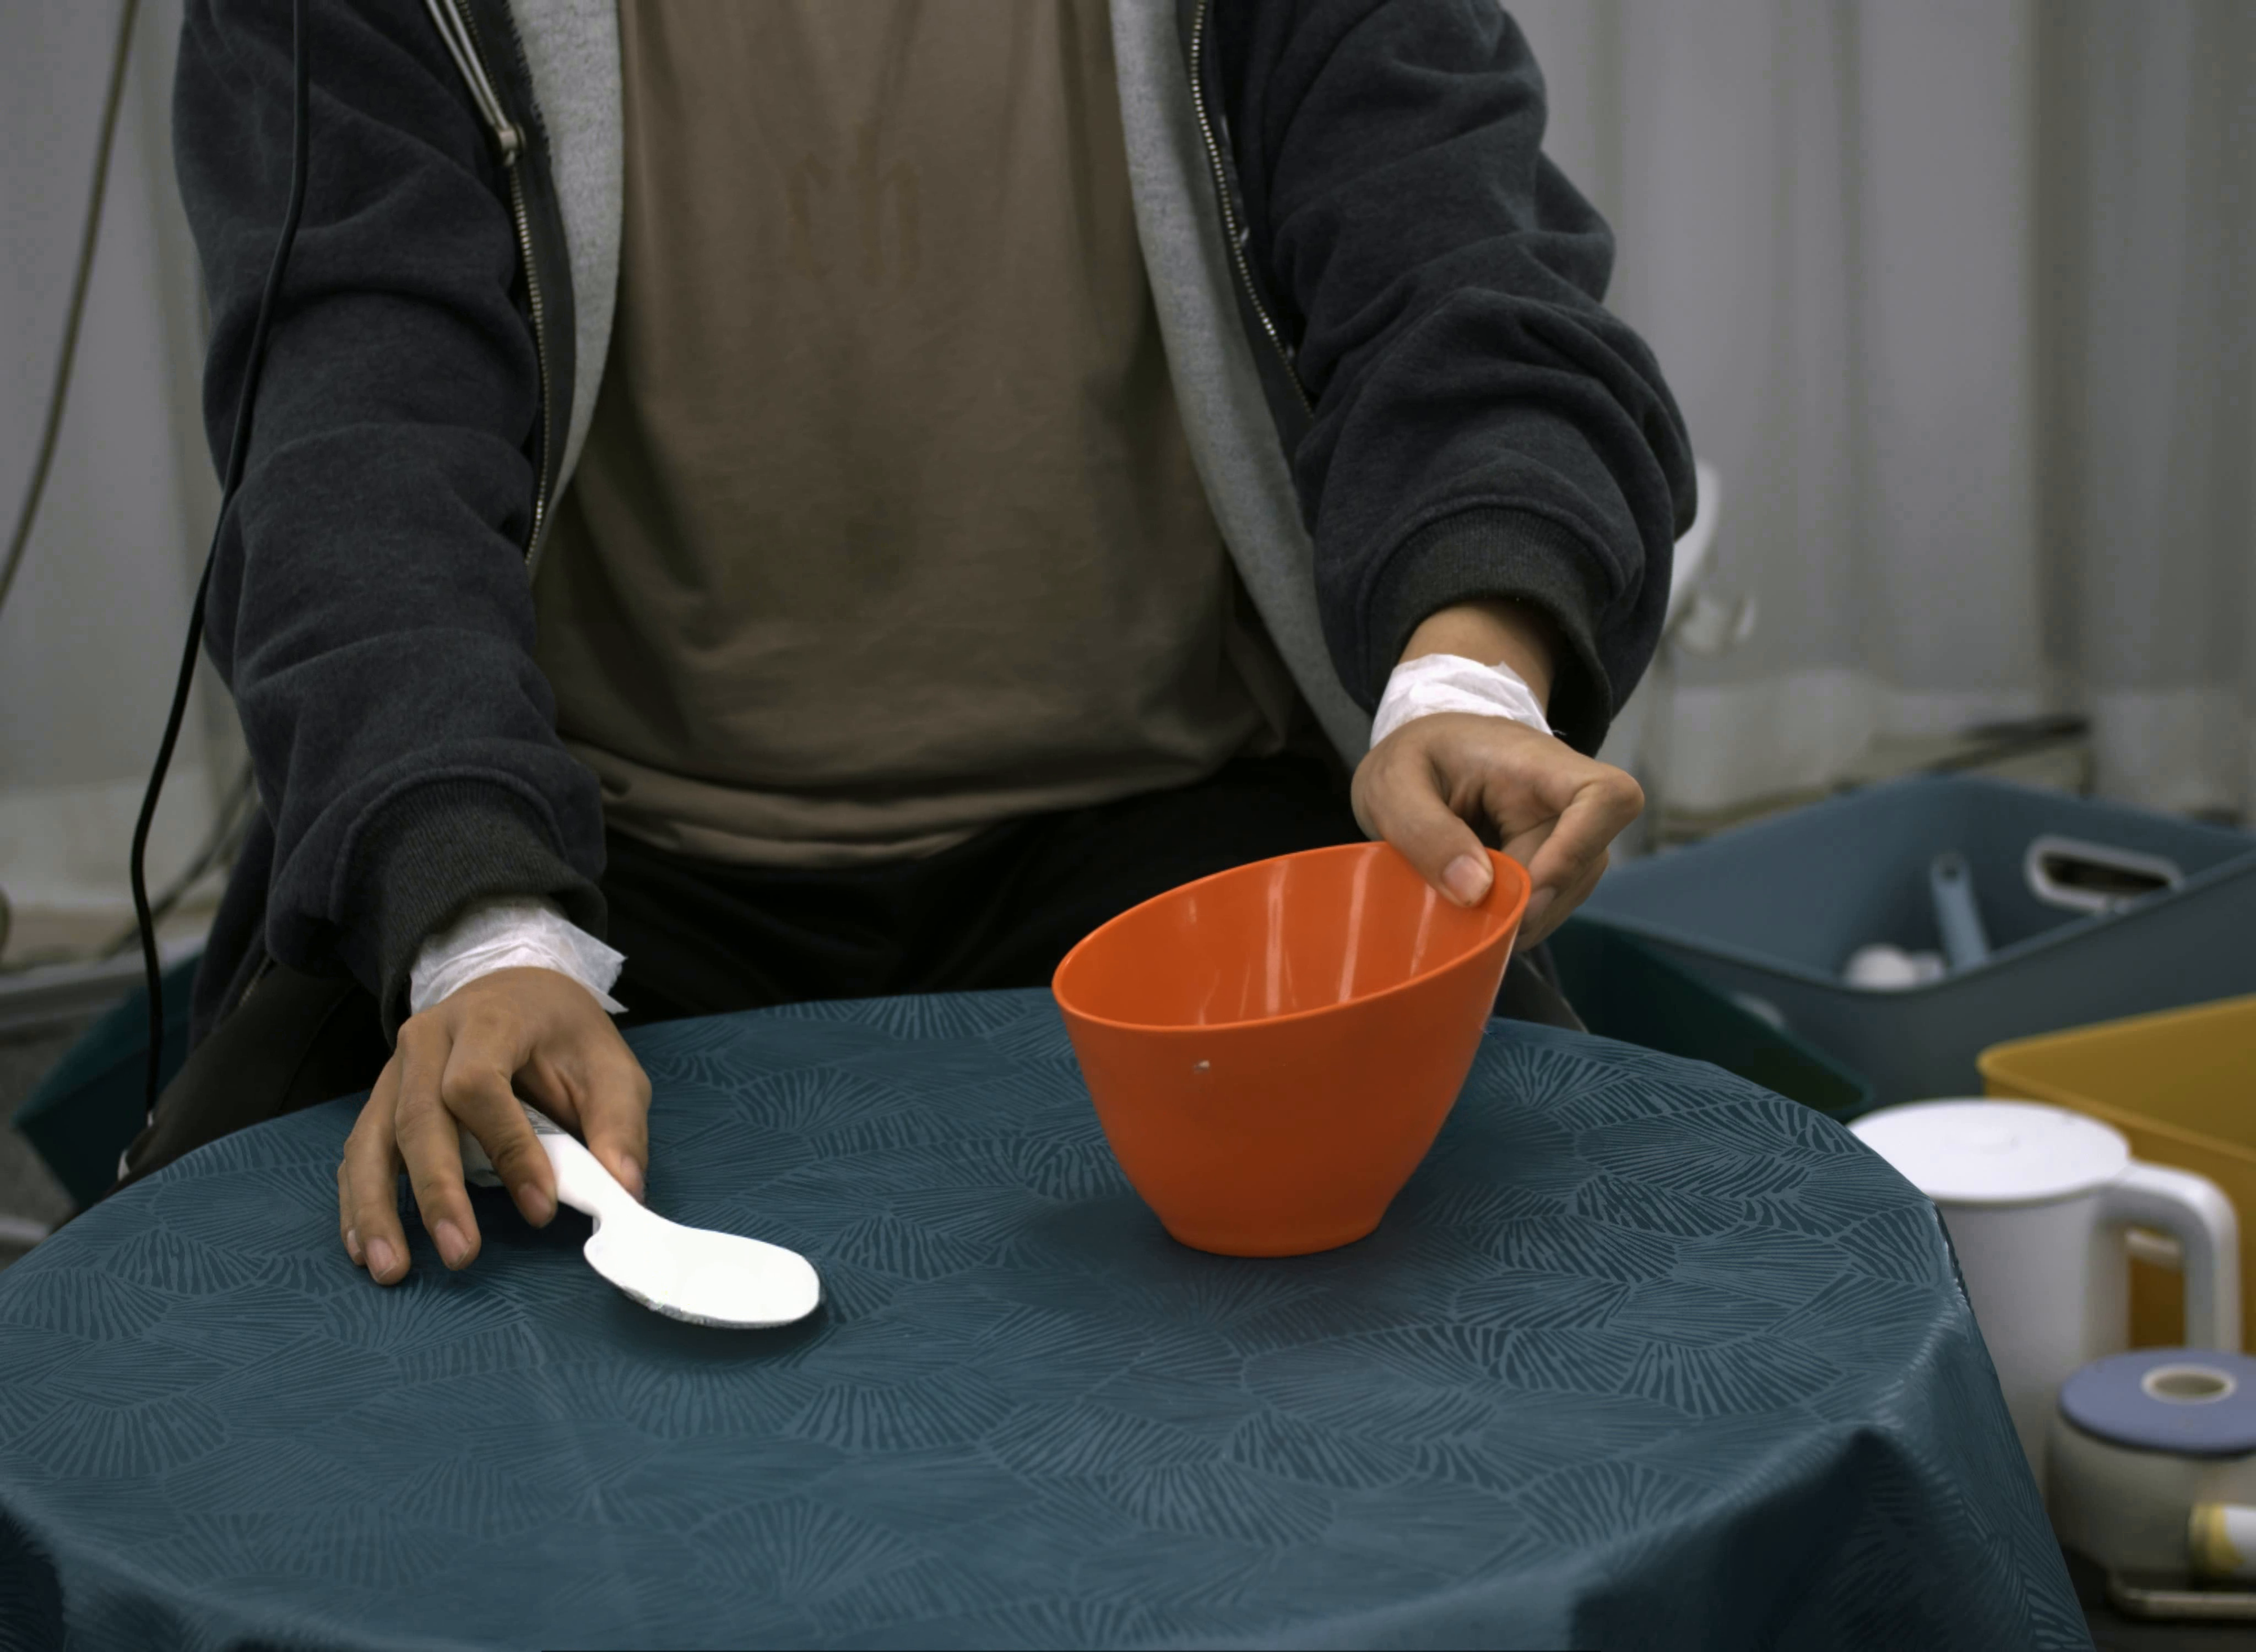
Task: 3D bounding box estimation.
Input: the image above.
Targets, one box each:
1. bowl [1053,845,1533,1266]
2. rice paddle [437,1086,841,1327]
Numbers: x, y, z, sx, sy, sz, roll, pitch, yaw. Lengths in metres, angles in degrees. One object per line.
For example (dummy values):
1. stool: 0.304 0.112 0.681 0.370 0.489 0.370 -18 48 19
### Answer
1. bowl: 0.053 0.073 1.669 0.147 0.104 0.149 -4 15 1
2. rice paddle: -0.153 0.119 1.670 0.068 0.029 0.207 -3 14 -32
